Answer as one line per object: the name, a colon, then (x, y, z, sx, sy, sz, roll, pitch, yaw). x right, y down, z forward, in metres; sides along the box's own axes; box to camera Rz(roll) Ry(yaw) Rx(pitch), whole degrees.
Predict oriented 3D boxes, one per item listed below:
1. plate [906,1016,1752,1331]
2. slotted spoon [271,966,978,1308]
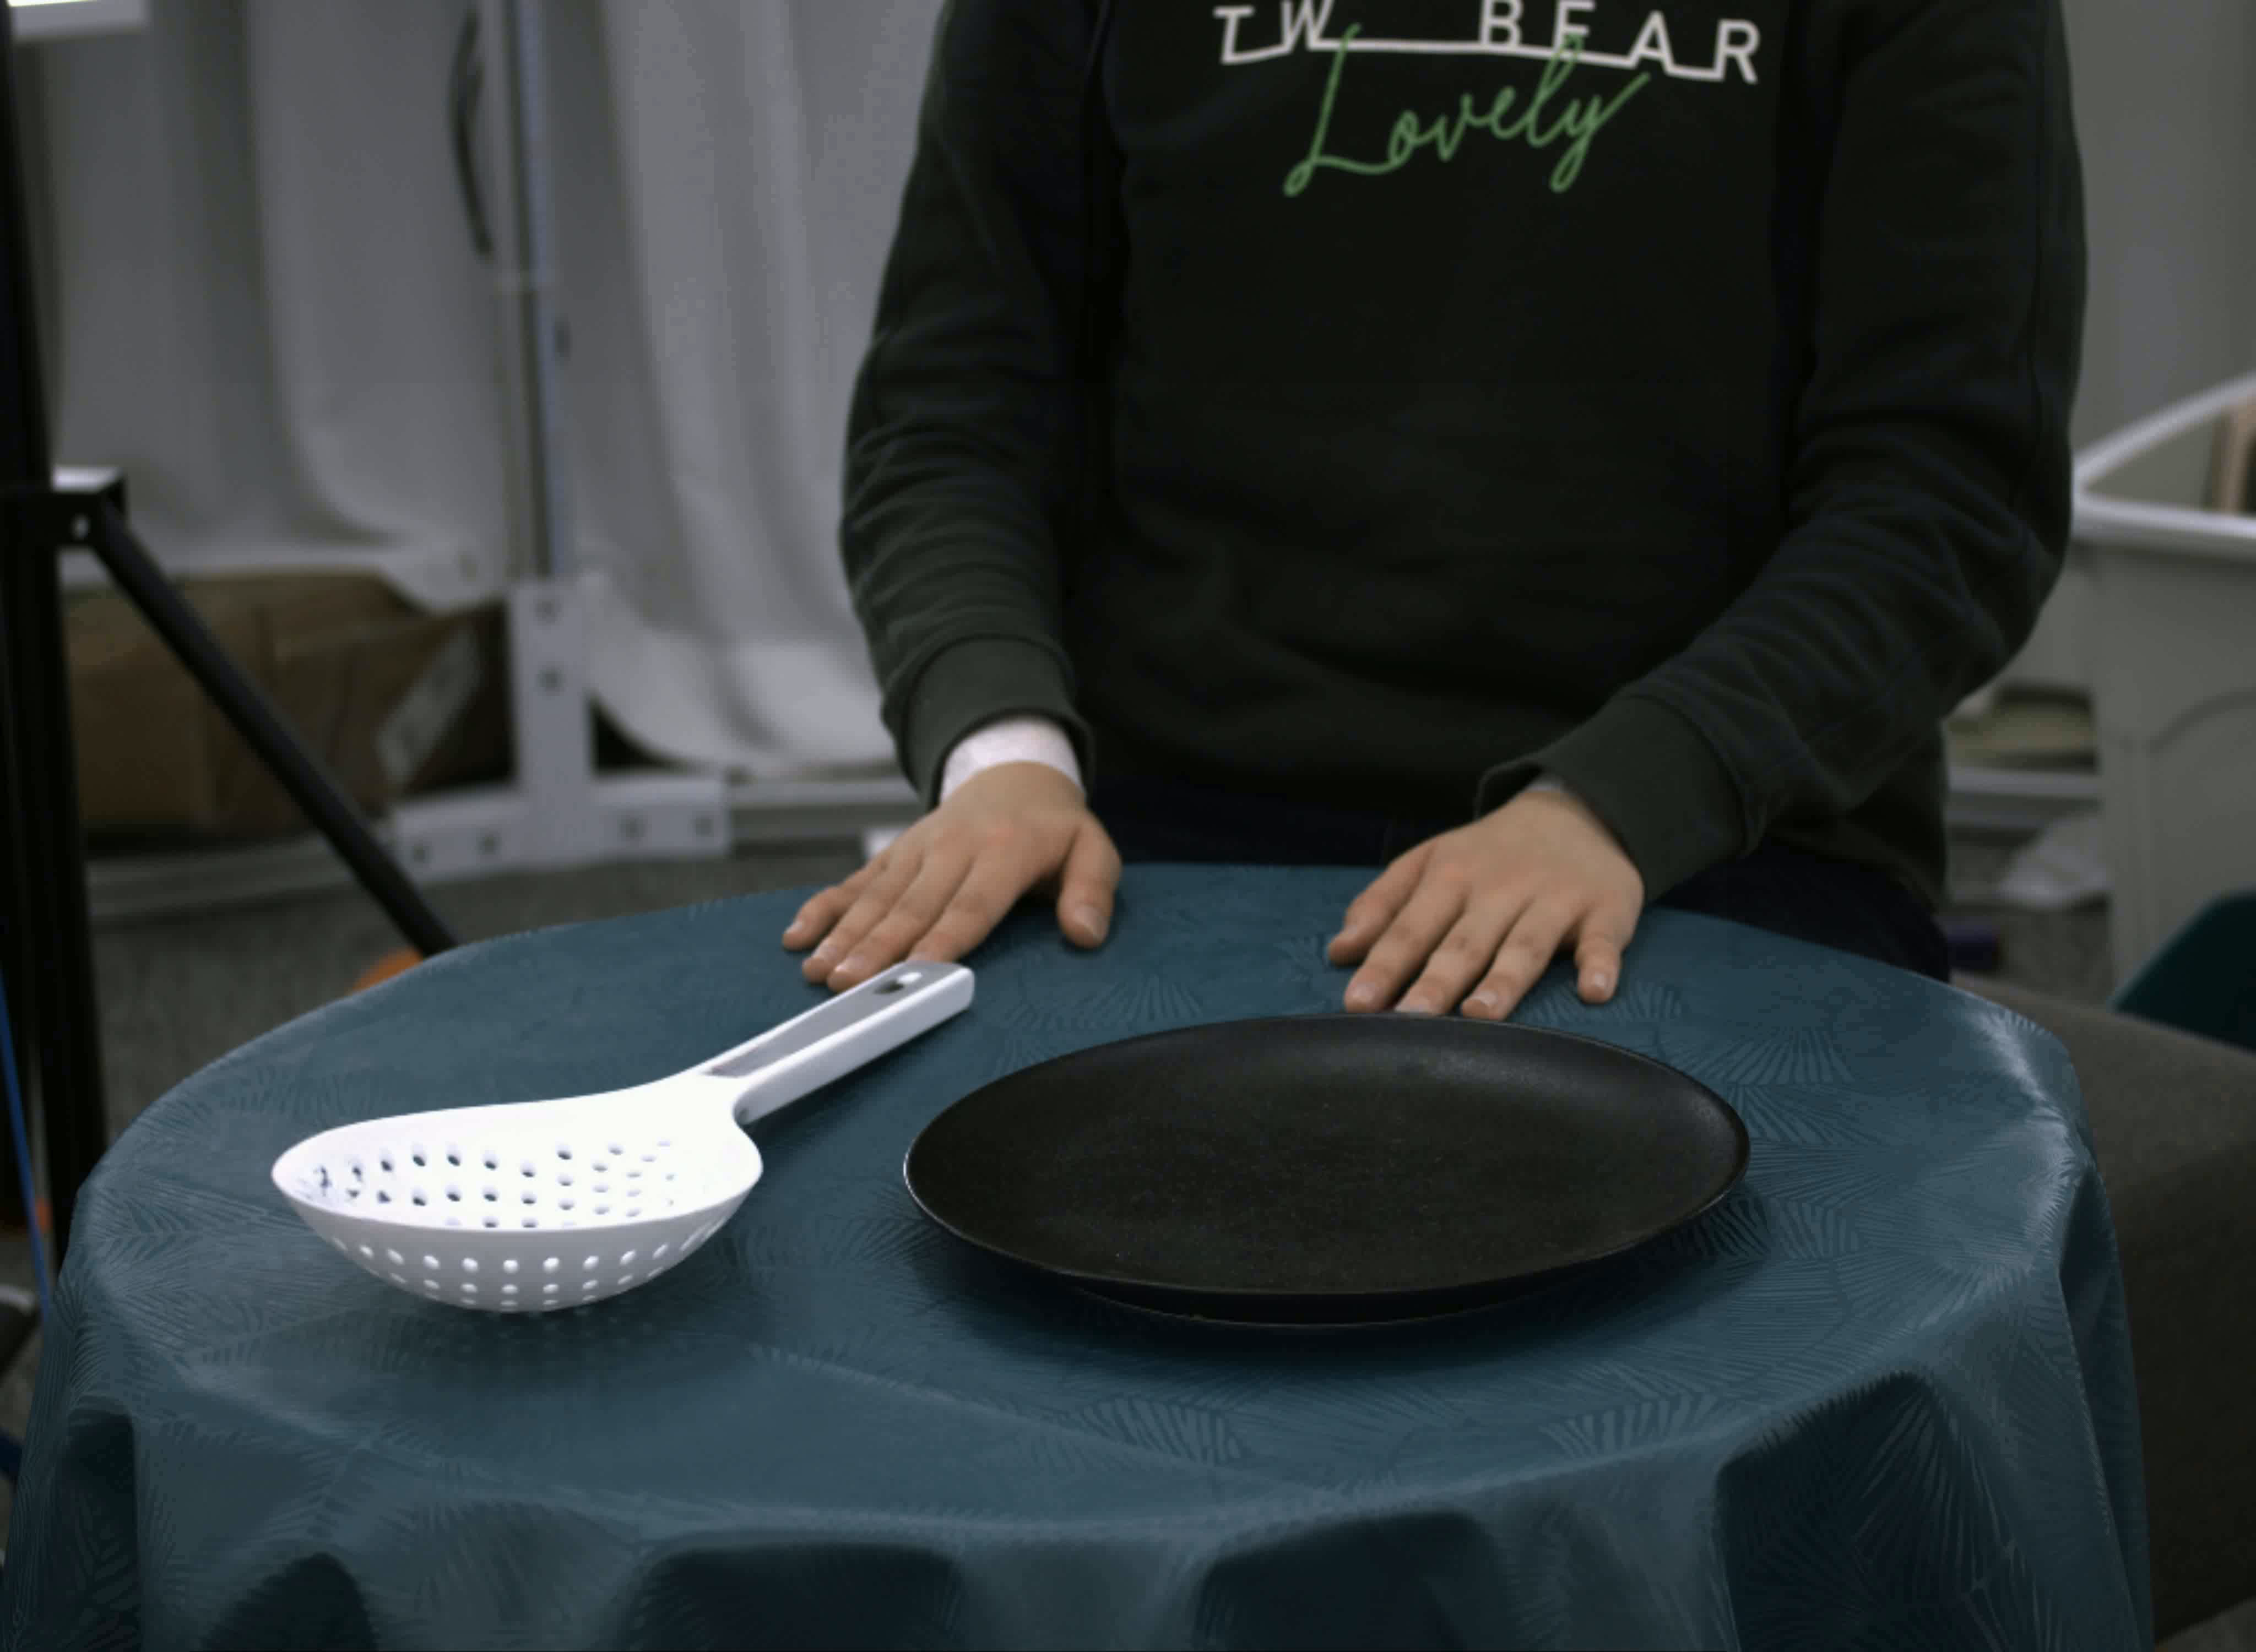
plate: (0.058, 0.102, 1.527, 0.243, 0.023, 0.245, -3, 16, -1)
slotted spoon: (-0.129, 0.083, 1.585, 0.138, 0.046, 0.344, 6, 17, 23)
